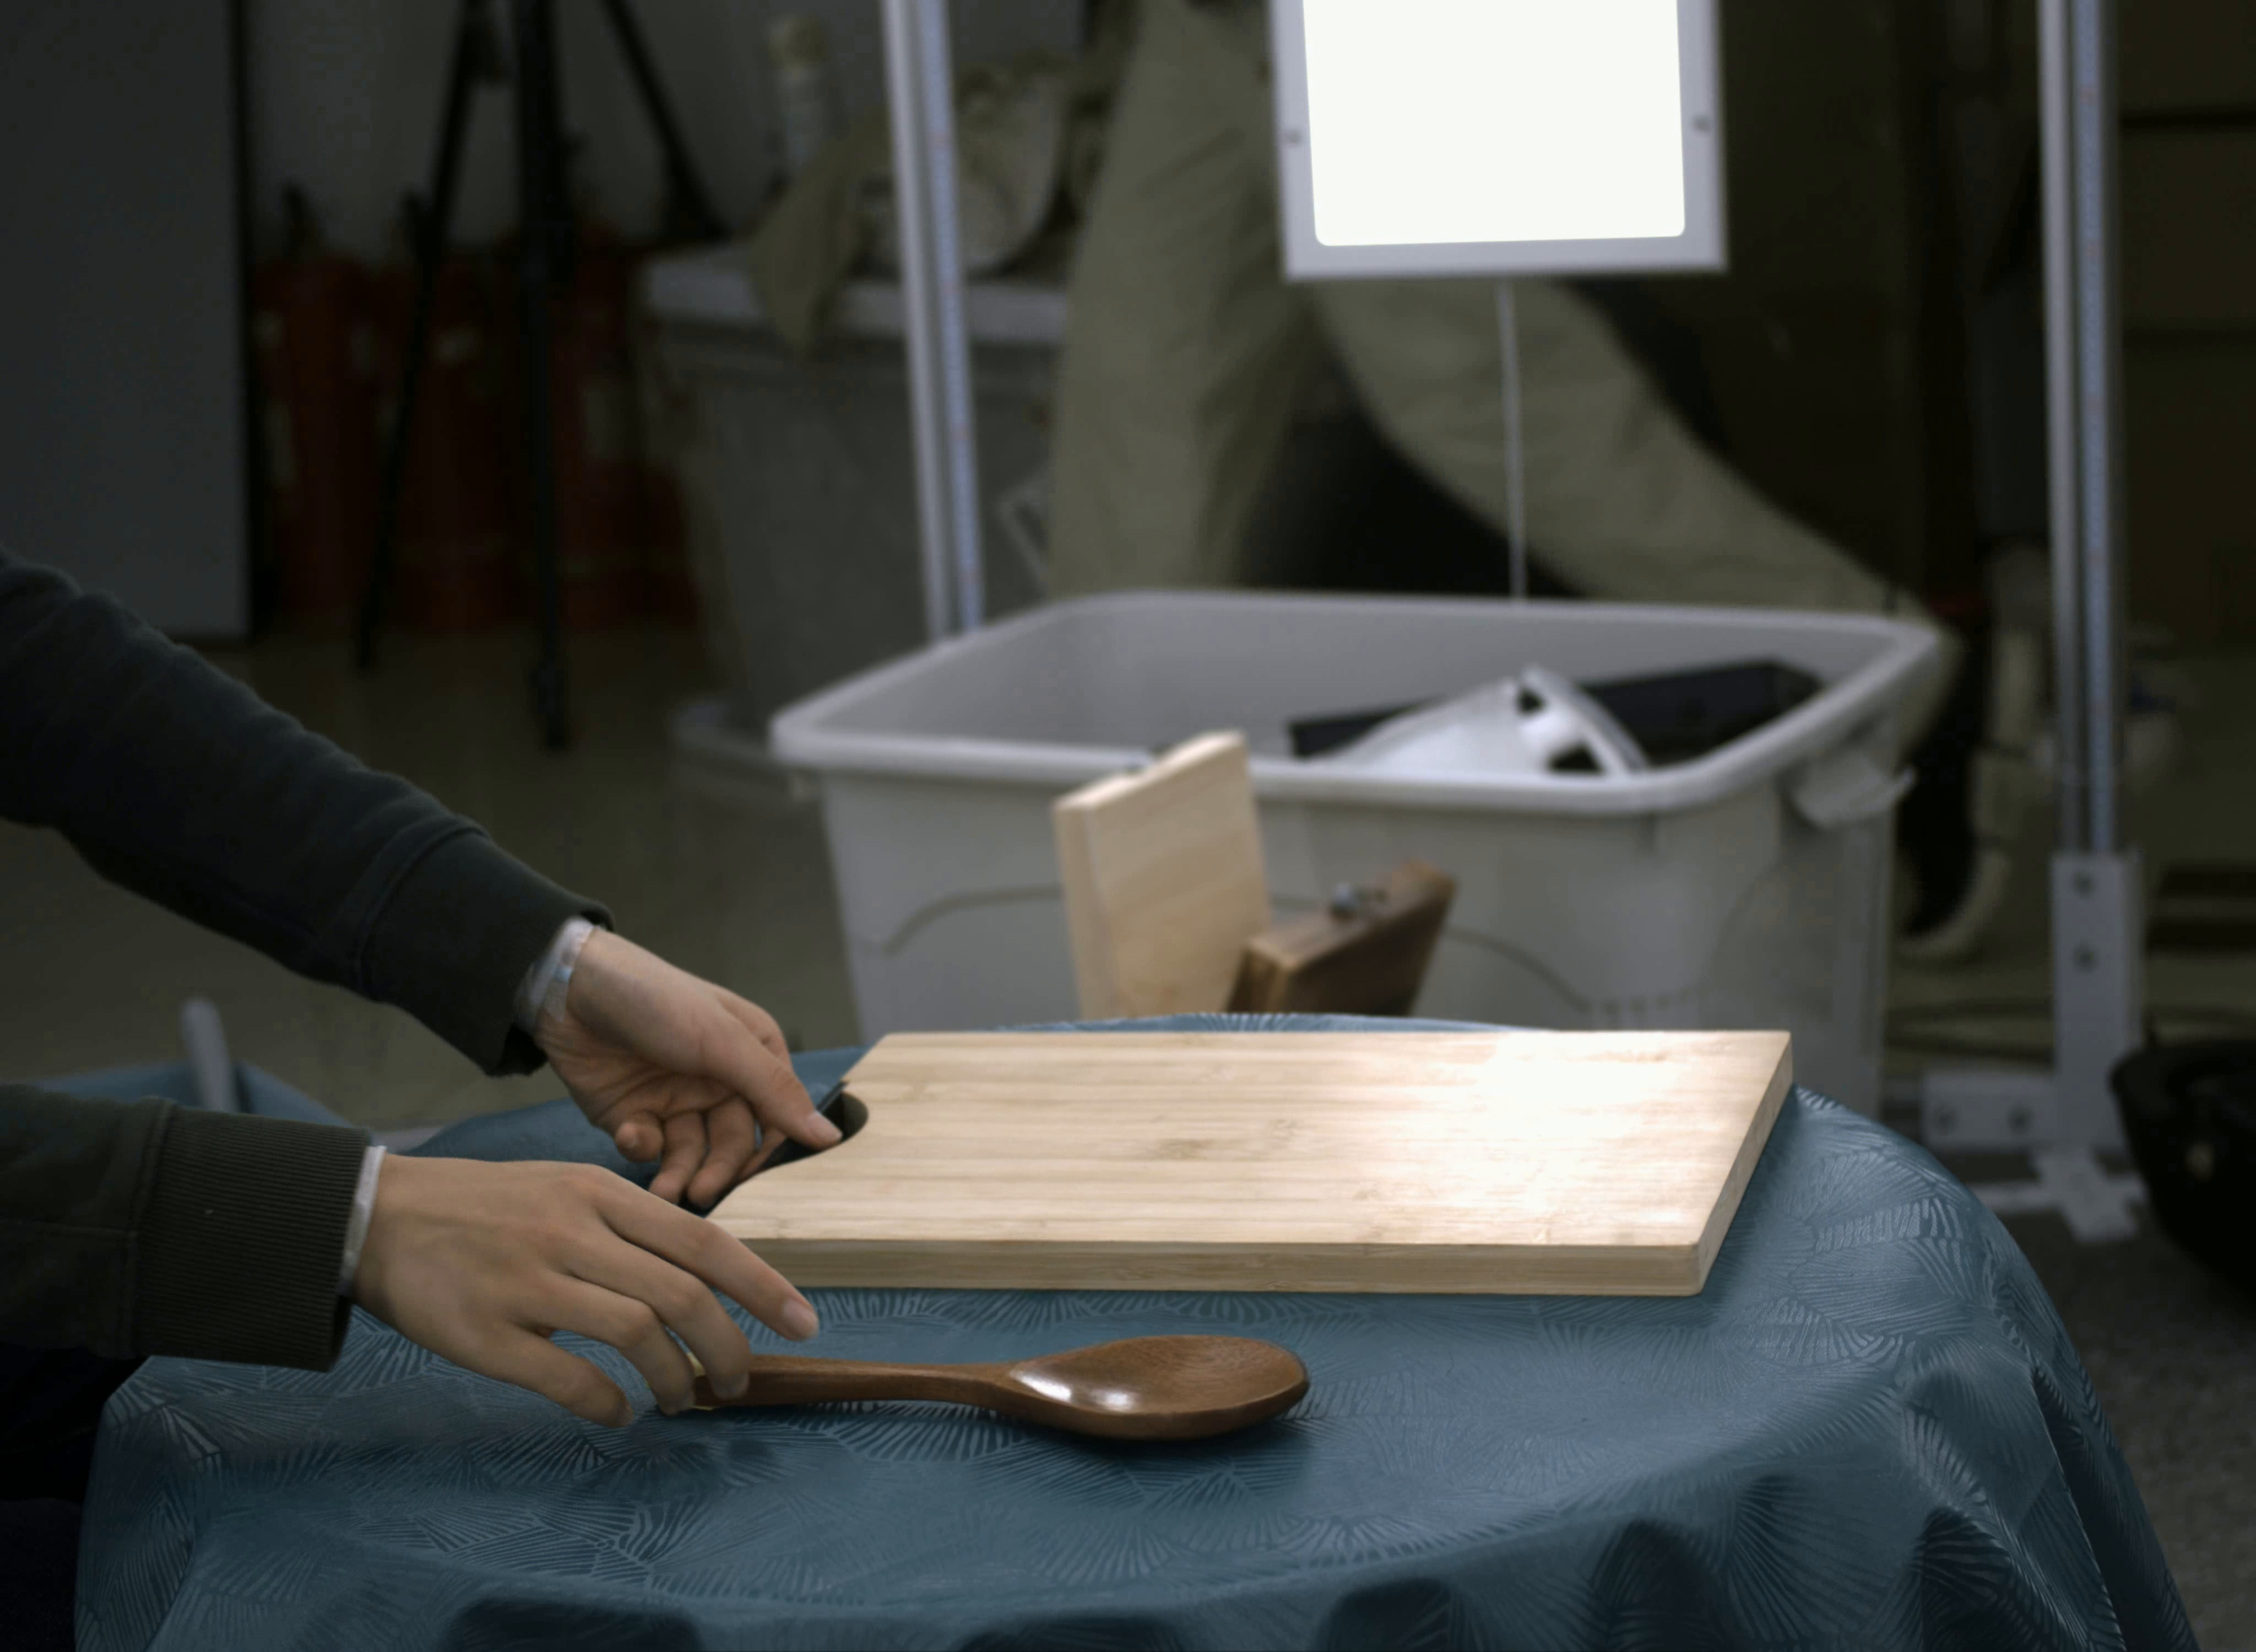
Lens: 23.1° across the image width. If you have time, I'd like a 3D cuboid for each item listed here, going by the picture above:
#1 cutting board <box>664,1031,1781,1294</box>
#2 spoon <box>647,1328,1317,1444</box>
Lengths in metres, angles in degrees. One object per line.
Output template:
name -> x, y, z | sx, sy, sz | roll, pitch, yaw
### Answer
cutting board -> 0.040, 0.114, 1.901 | 0.352, 0.023, 0.247 | -1, 14, 15
spoon -> -0.046, 0.171, 1.693 | 0.218, 0.017, 0.074 | 1, 16, 20
